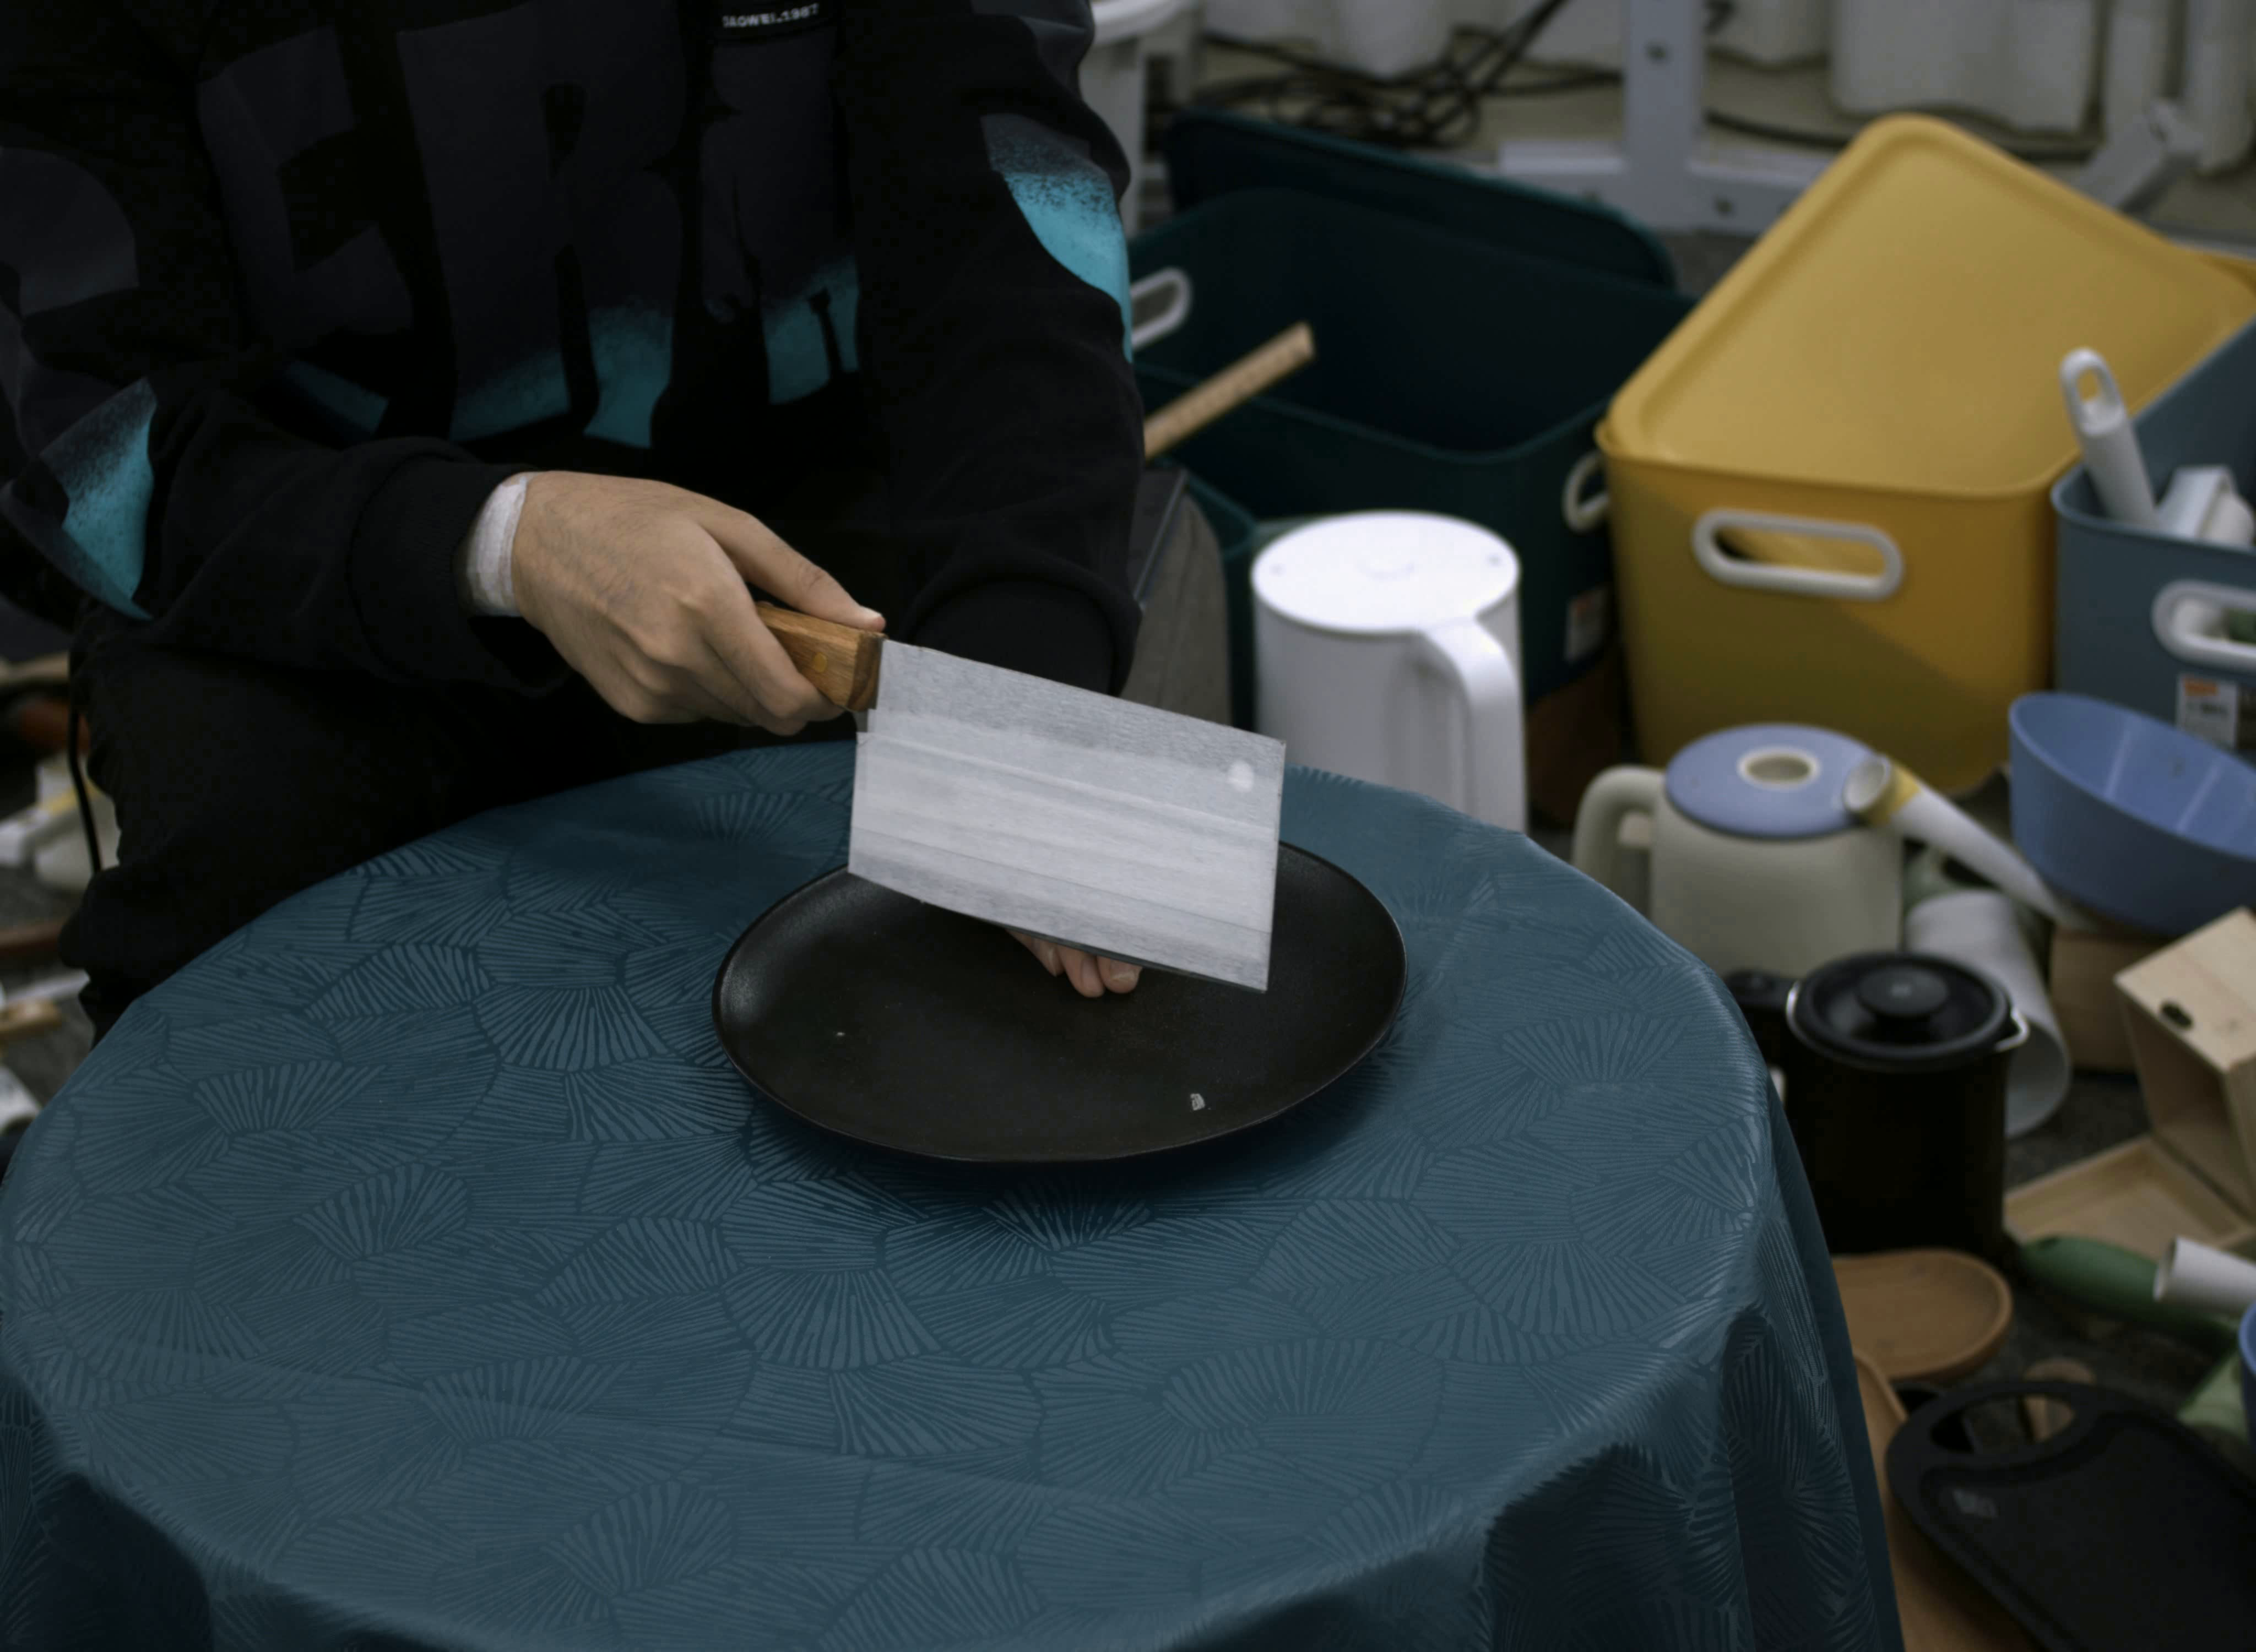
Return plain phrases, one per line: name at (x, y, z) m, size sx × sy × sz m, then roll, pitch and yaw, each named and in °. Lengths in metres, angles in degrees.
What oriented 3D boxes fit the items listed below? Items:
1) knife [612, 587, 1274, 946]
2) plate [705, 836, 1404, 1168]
knife at (-0.069, -0.019, 1.973) m, size 0.304 × 0.092 × 0.021 m, roll 15°, pitch 17°, yaw 37°
plate at (-0.025, 0.062, 1.953) m, size 0.243 × 0.023 × 0.248 m, roll -2°, pitch 27°, yaw 2°
